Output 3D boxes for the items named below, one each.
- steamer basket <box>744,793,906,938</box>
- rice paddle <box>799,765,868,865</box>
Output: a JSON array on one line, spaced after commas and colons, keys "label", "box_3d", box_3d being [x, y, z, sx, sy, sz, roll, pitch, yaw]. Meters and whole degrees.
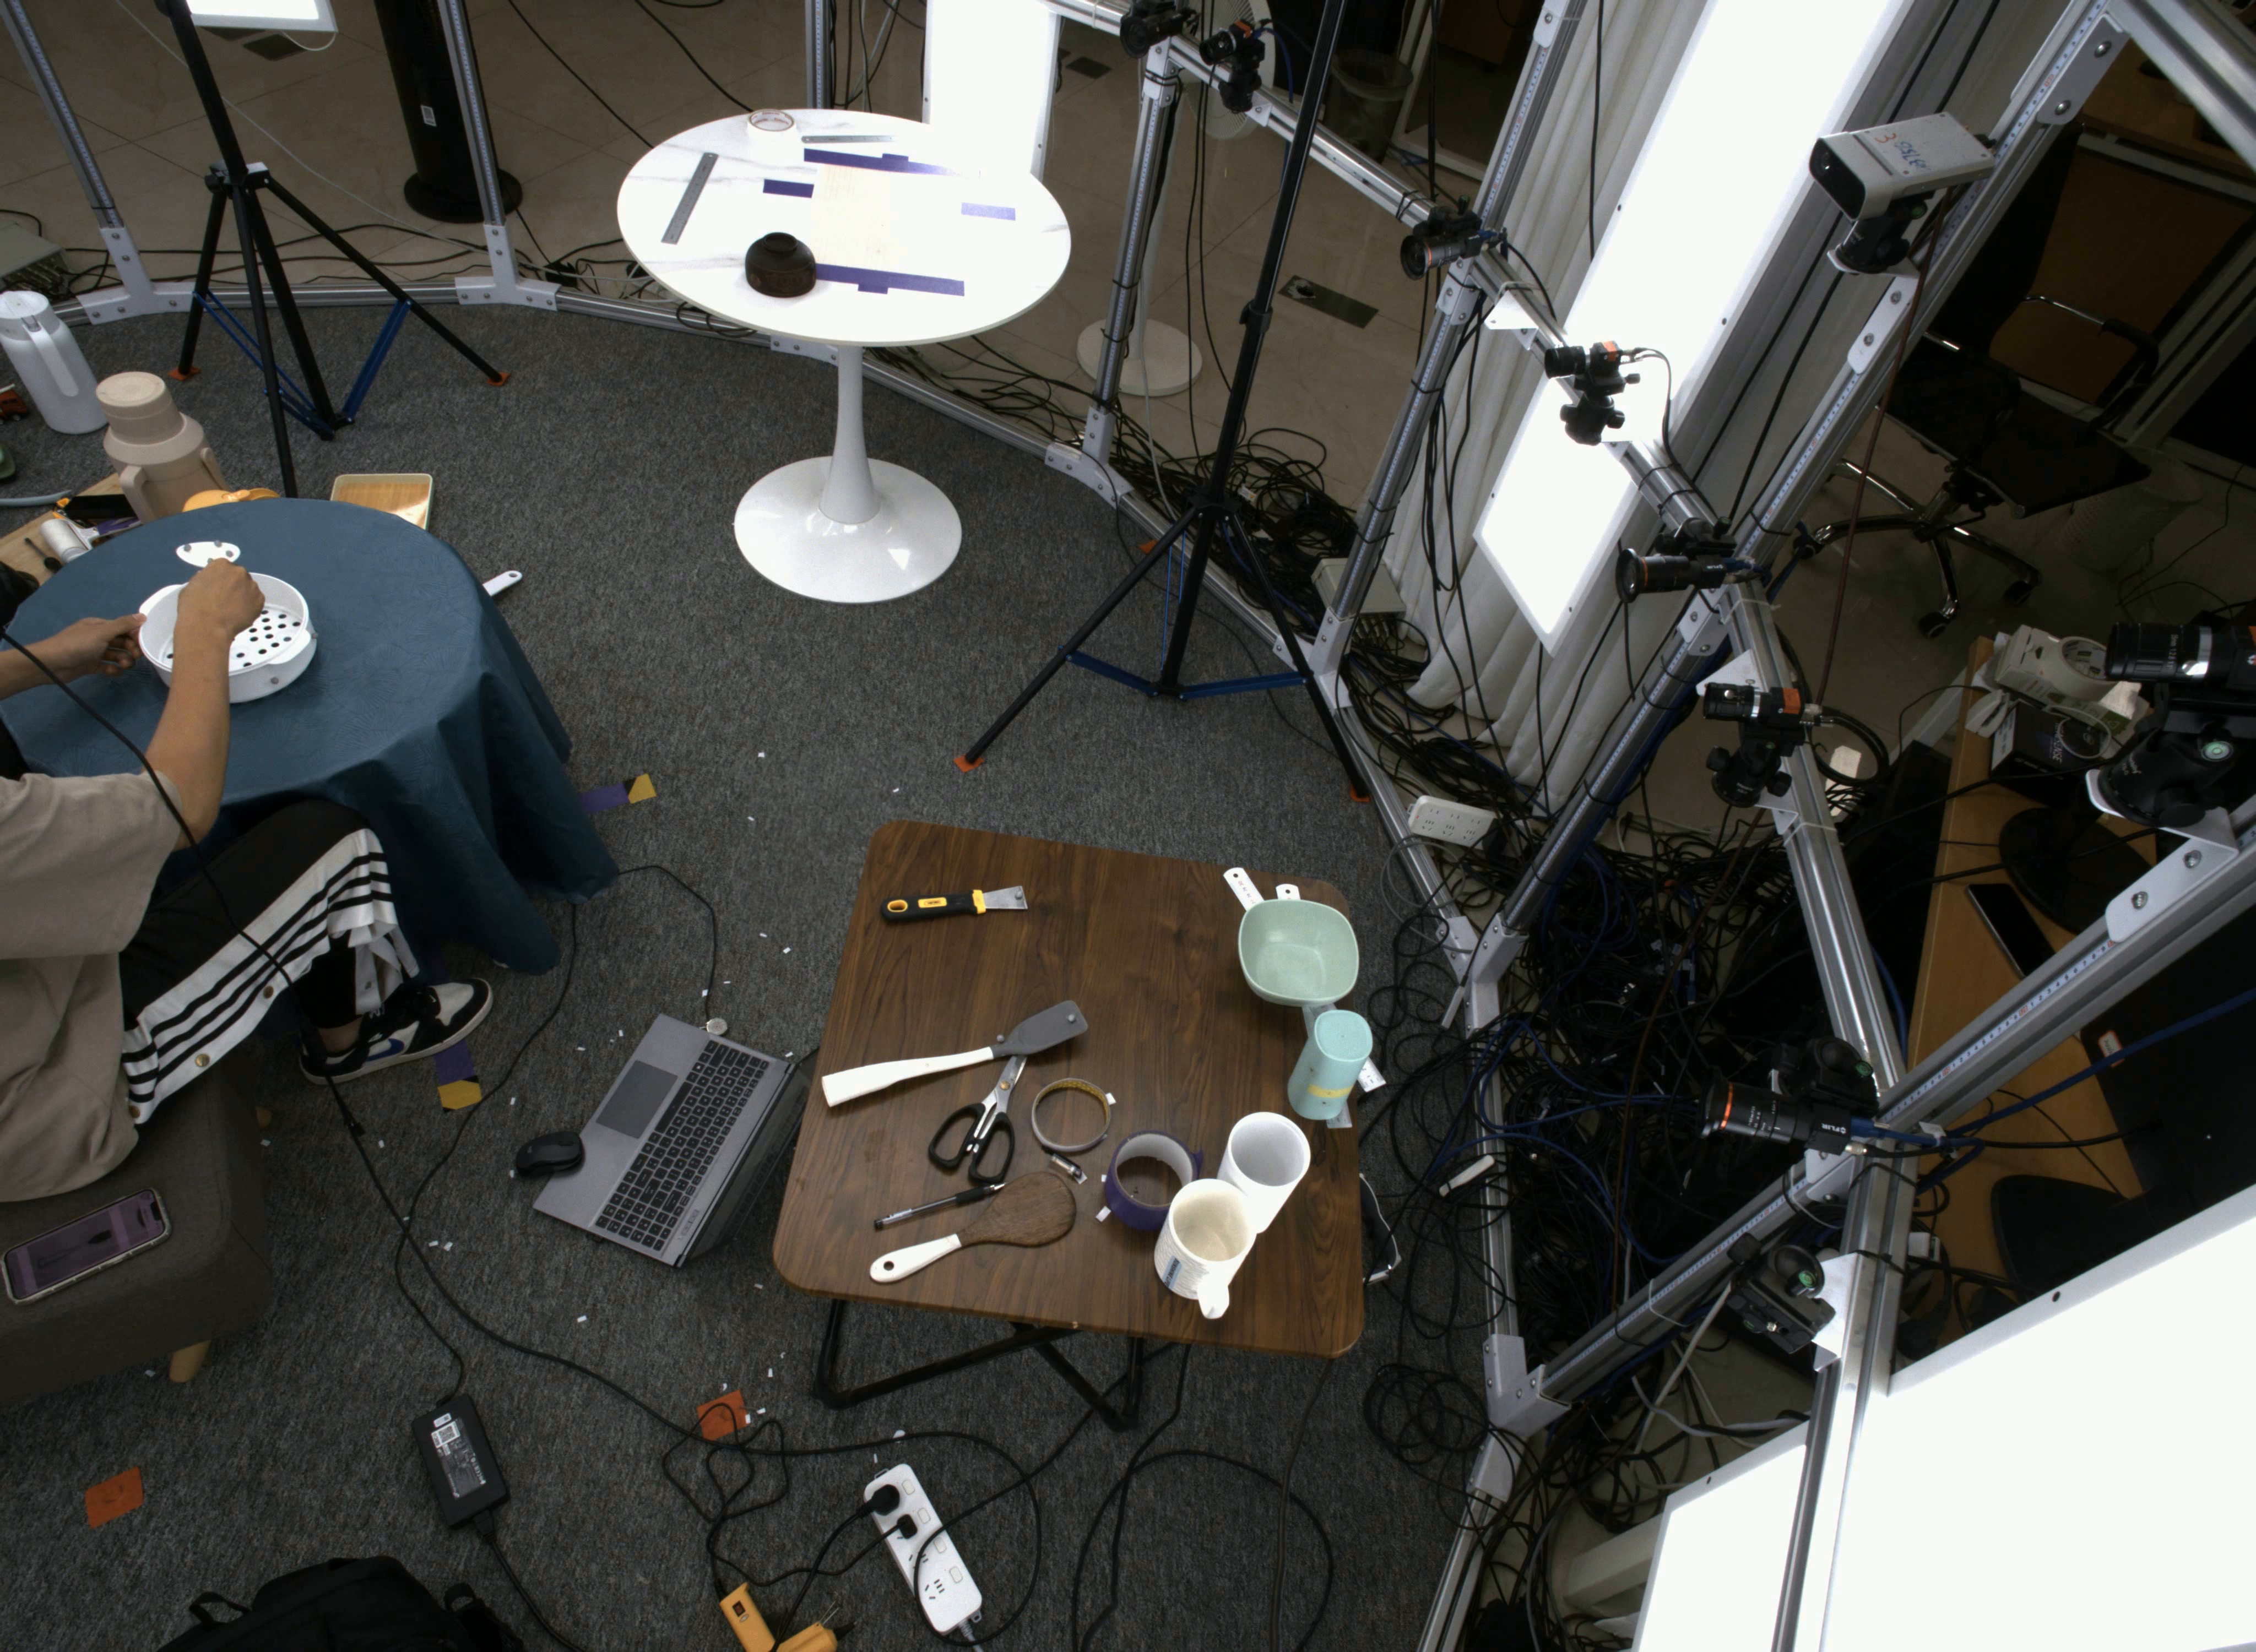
[{"label": "steamer basket", "box_3d": [-0.387, 0.049, 1.666, 0.225, 0.071, 0.201, 31, 53, 14]}, {"label": "rice paddle", "box_3d": [-0.343, -0.024, 1.527, 0.070, 0.030, 0.198, 3, 32, -27]}]
